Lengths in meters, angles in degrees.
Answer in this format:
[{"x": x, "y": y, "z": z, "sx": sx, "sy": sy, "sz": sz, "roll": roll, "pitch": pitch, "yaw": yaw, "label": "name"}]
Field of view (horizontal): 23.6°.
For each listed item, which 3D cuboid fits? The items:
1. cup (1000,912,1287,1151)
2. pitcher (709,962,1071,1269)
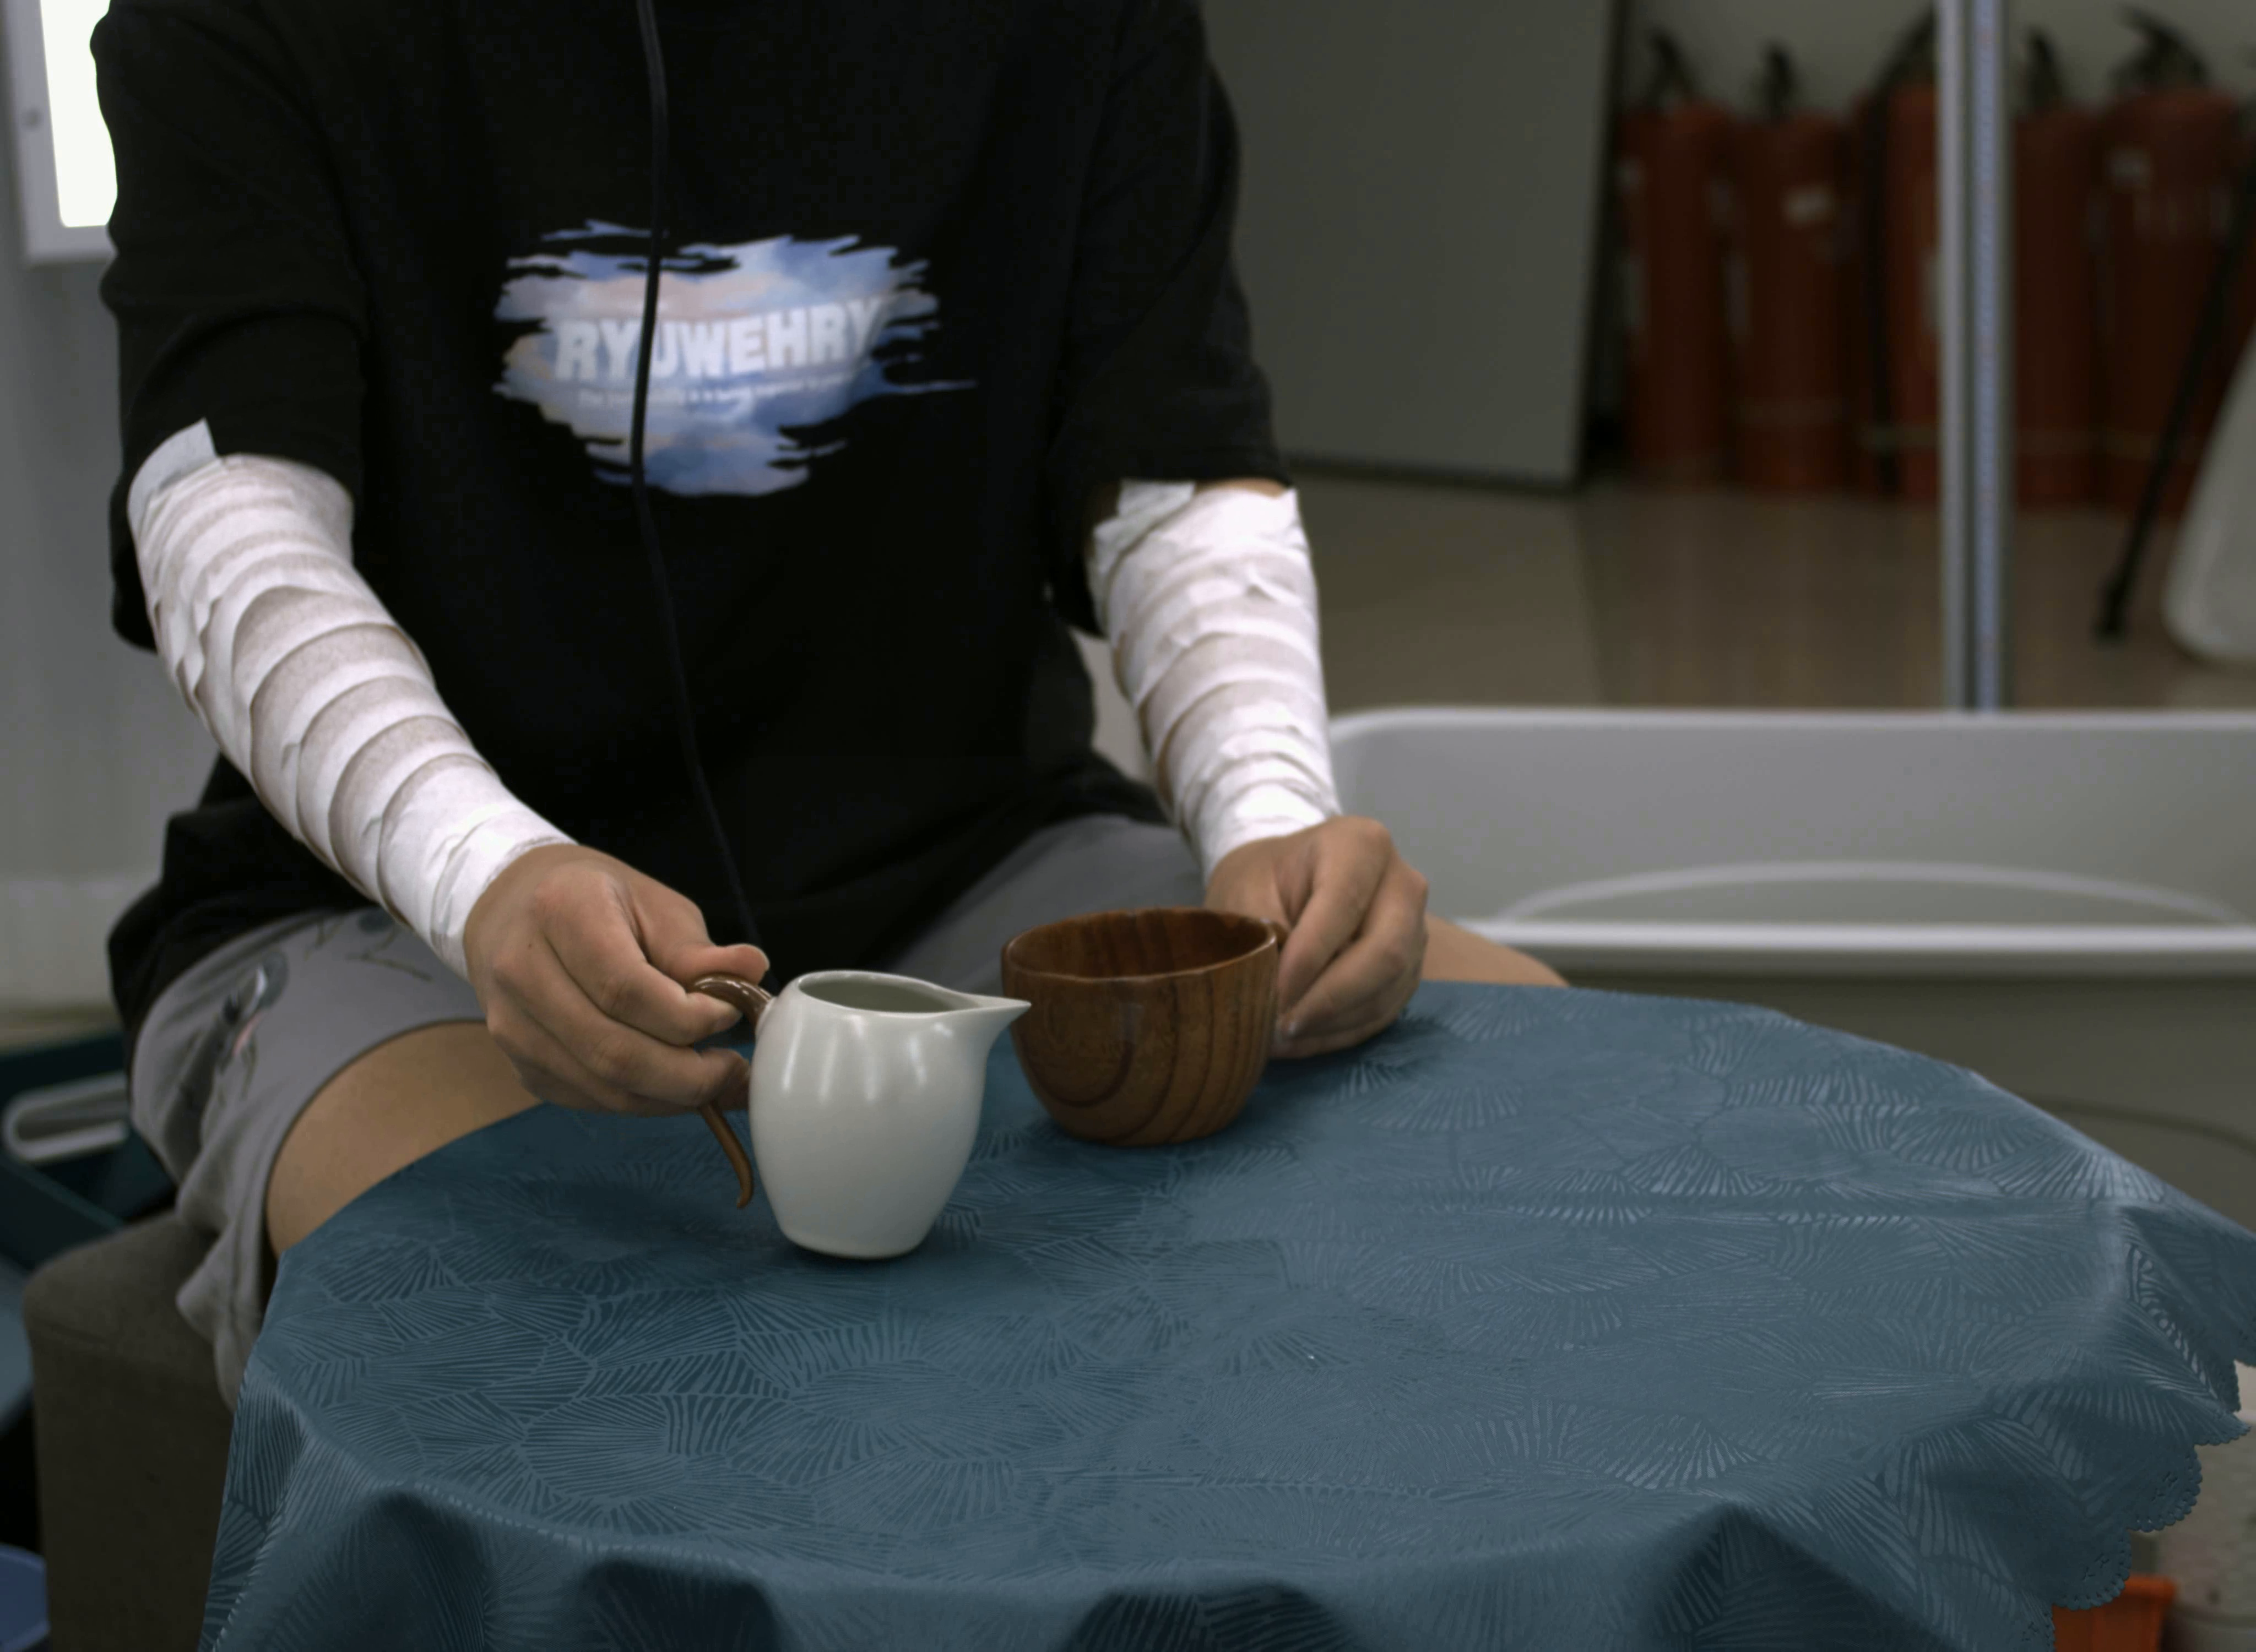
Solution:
[{"x": 0.015, "y": 0.069, "z": 1.847, "sx": 0.117, "sy": 0.068, "sz": 0.097, "roll": -14, "pitch": 13, "yaw": -42, "label": "cup"}, {"x": -0.082, "y": 0.090, "z": 1.722, "sx": 0.119, "sy": 0.089, "sz": 0.075, "roll": 14, "pitch": 9, "yaw": 16, "label": "pitcher"}]
